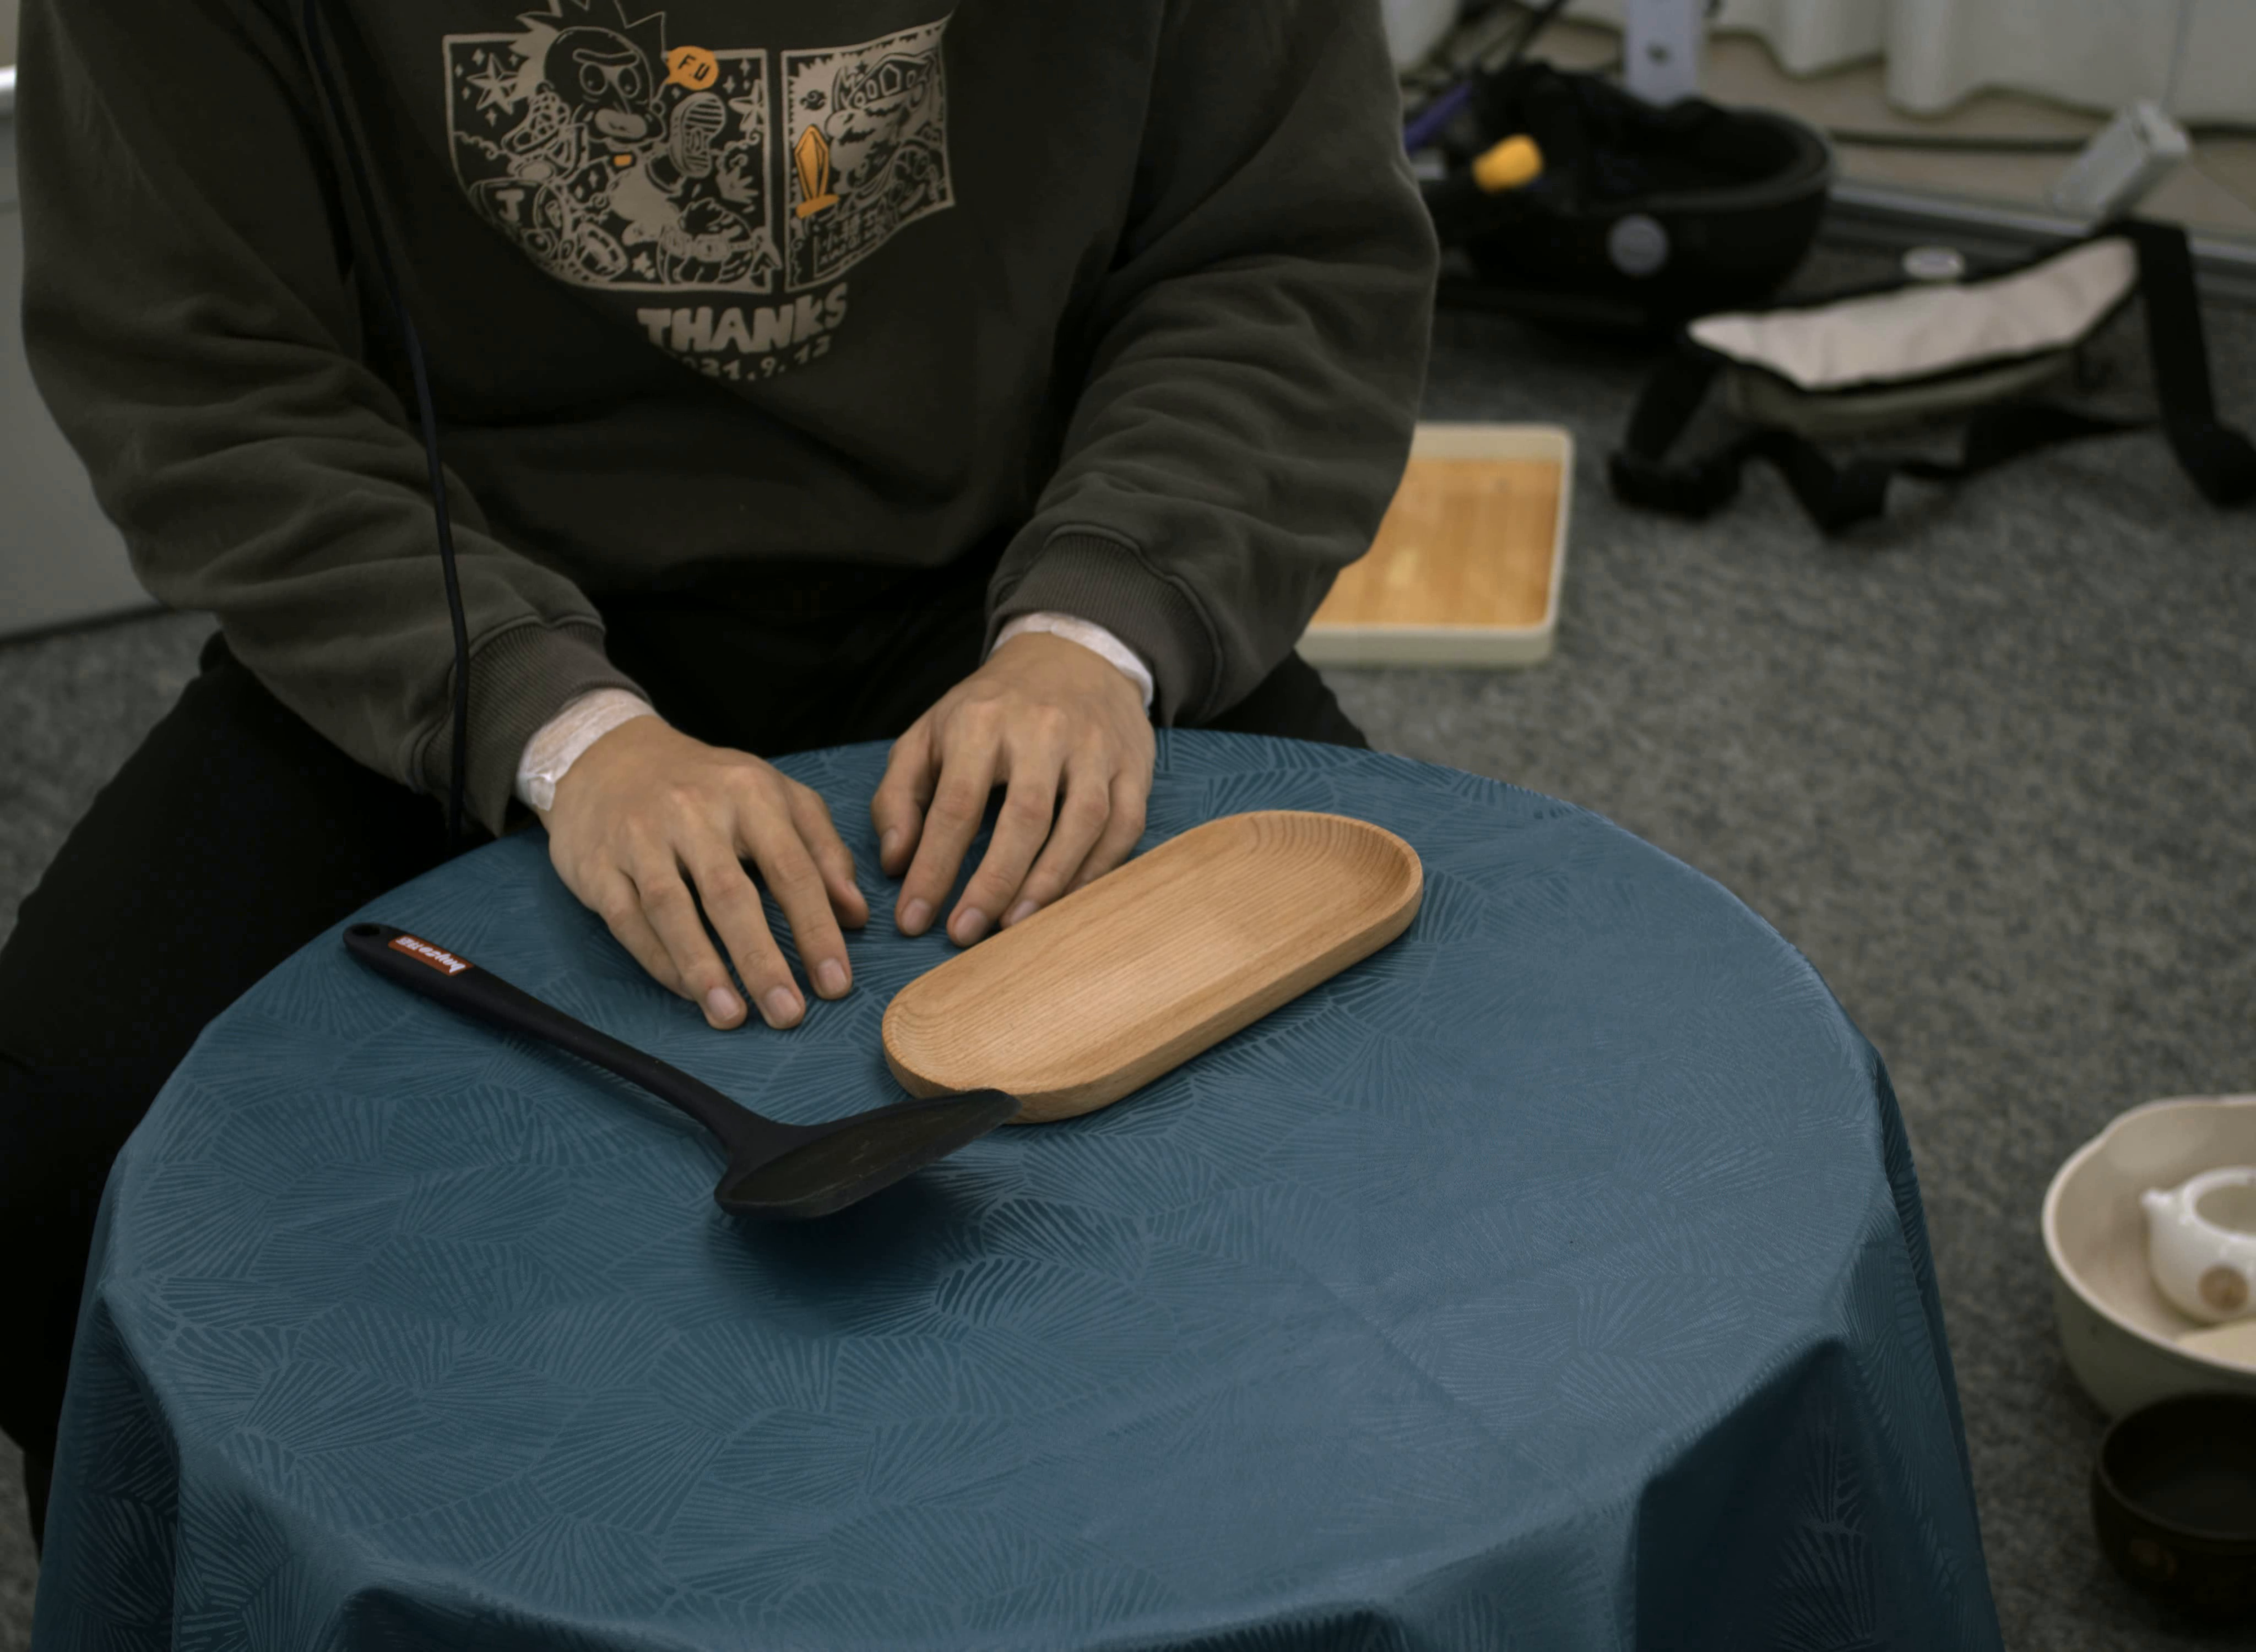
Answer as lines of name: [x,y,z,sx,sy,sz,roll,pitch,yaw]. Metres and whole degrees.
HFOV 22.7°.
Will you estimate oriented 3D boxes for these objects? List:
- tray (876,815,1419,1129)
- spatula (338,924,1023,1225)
tray: [0.009,0.050,1.979,0.101,0.020,0.234,21,37,39]
spatula: [-0.173,0.077,1.925,0.101,0.040,0.326,-24,34,-37]
